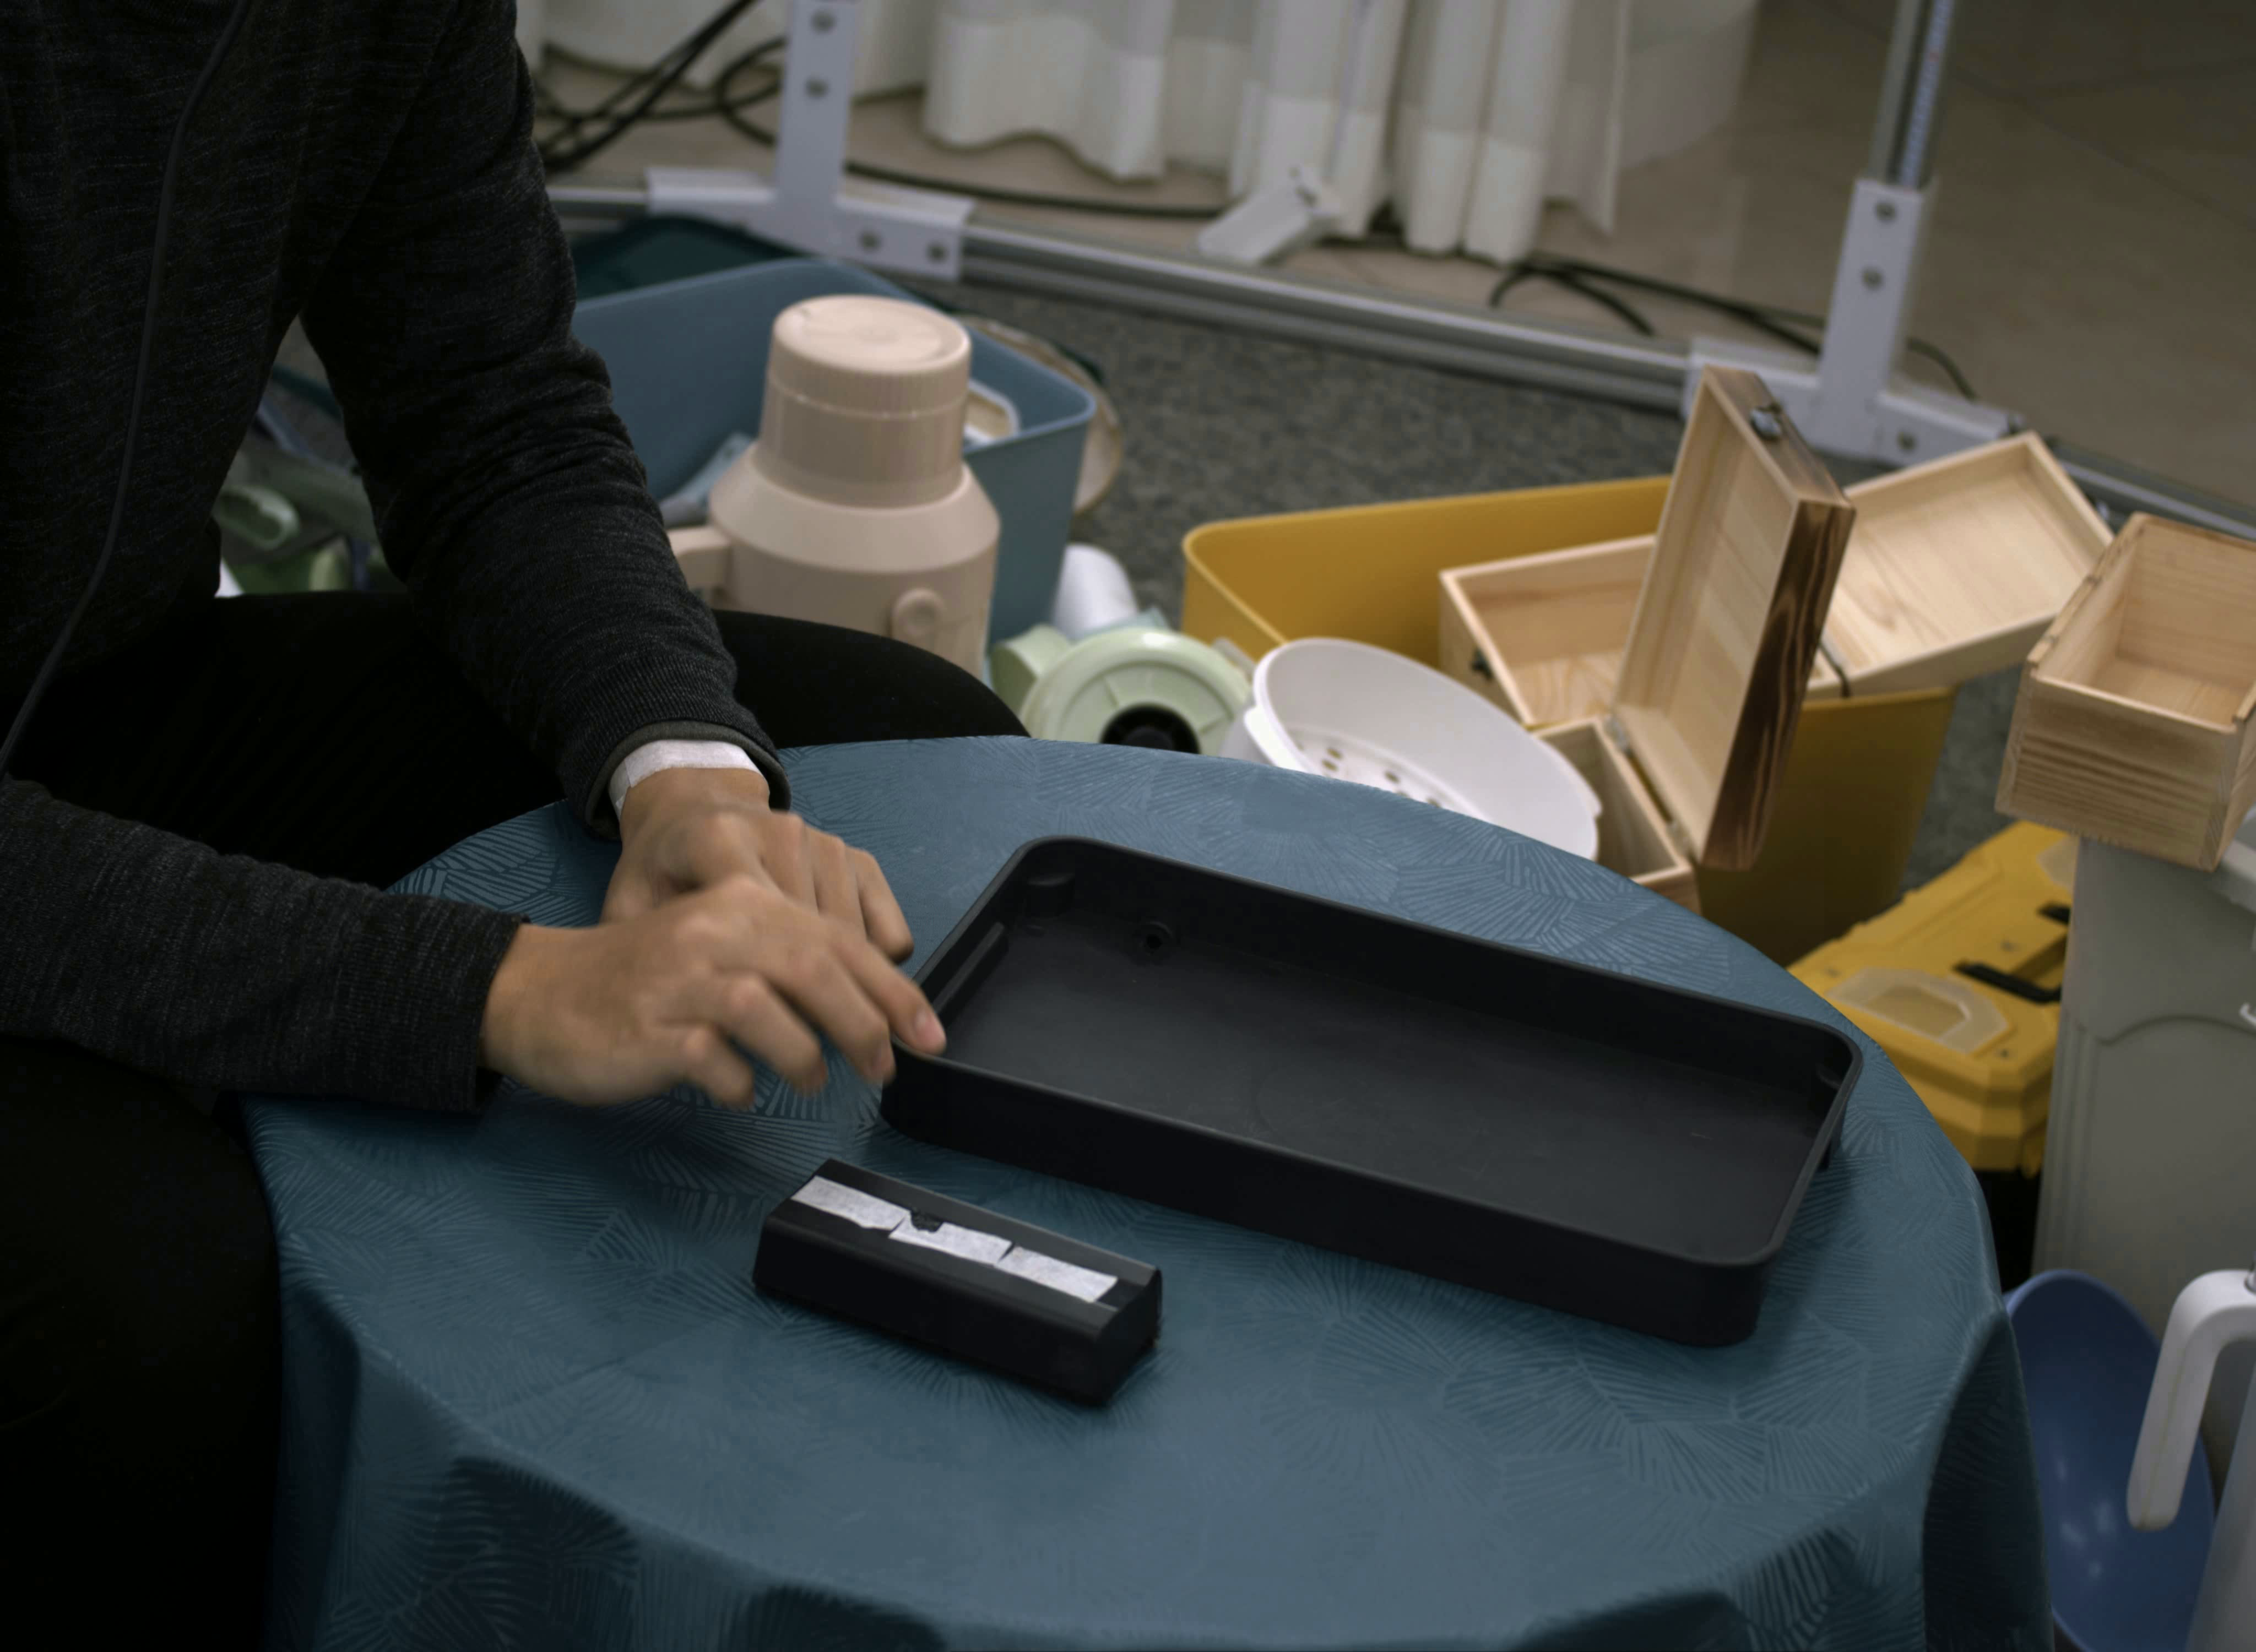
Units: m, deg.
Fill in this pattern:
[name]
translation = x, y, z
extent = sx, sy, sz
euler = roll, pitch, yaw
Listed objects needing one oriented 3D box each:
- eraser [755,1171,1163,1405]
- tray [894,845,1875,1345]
[eraser]
translation = -0.054, 0.148, 1.712
extent = 0.126, 0.030, 0.053
euler = 16, 26, 20
[tray]
translation = 0.090, 0.090, 1.851
extent = 0.318, 0.037, 0.184
euler = 13, 27, 13
